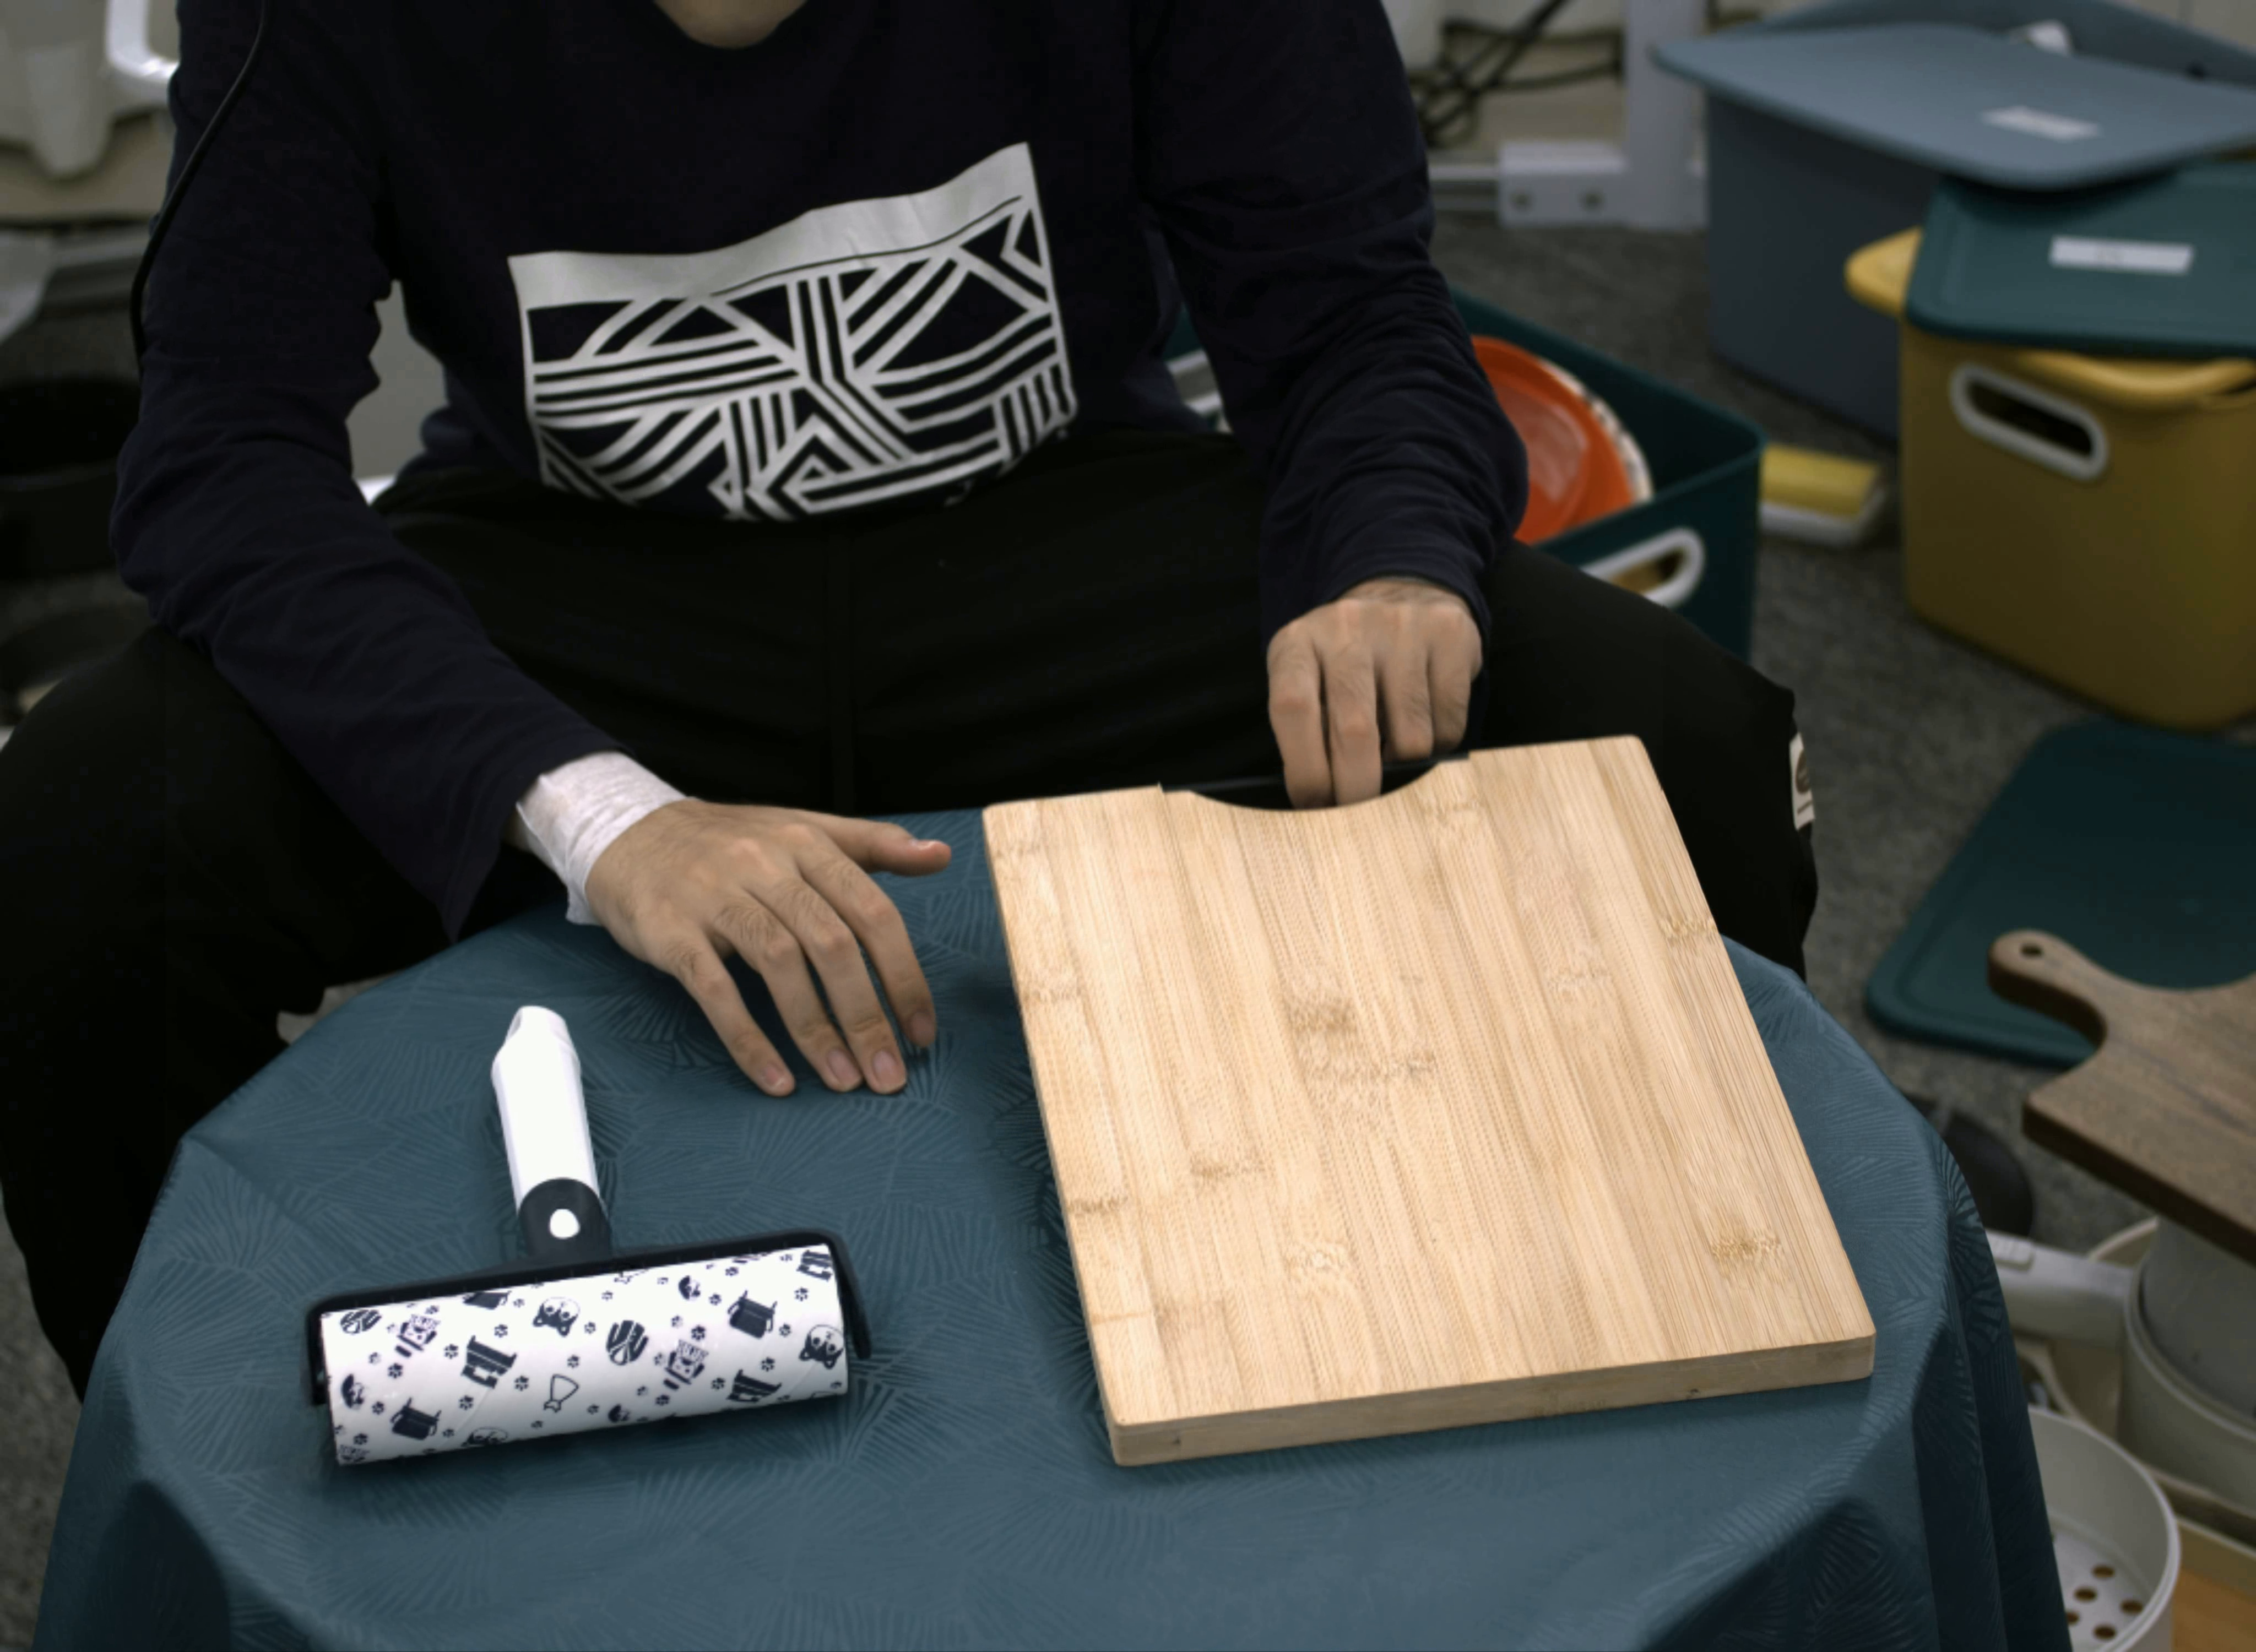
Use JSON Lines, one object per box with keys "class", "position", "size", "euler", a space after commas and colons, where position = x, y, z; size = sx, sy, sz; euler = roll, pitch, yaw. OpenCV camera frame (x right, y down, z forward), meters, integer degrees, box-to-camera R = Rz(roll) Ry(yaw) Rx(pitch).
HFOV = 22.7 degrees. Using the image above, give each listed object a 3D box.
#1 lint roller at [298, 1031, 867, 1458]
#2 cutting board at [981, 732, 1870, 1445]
{"class": "lint roller", "position": [-0.189, 0.122, 1.835], "size": [0.176, 0.050, 0.249], "euler": [-8, 25, -9]}
{"class": "cutting board", "position": [0.089, 0.081, 1.872], "size": [0.250, 0.023, 0.354], "euler": [-6, 34, -7]}
